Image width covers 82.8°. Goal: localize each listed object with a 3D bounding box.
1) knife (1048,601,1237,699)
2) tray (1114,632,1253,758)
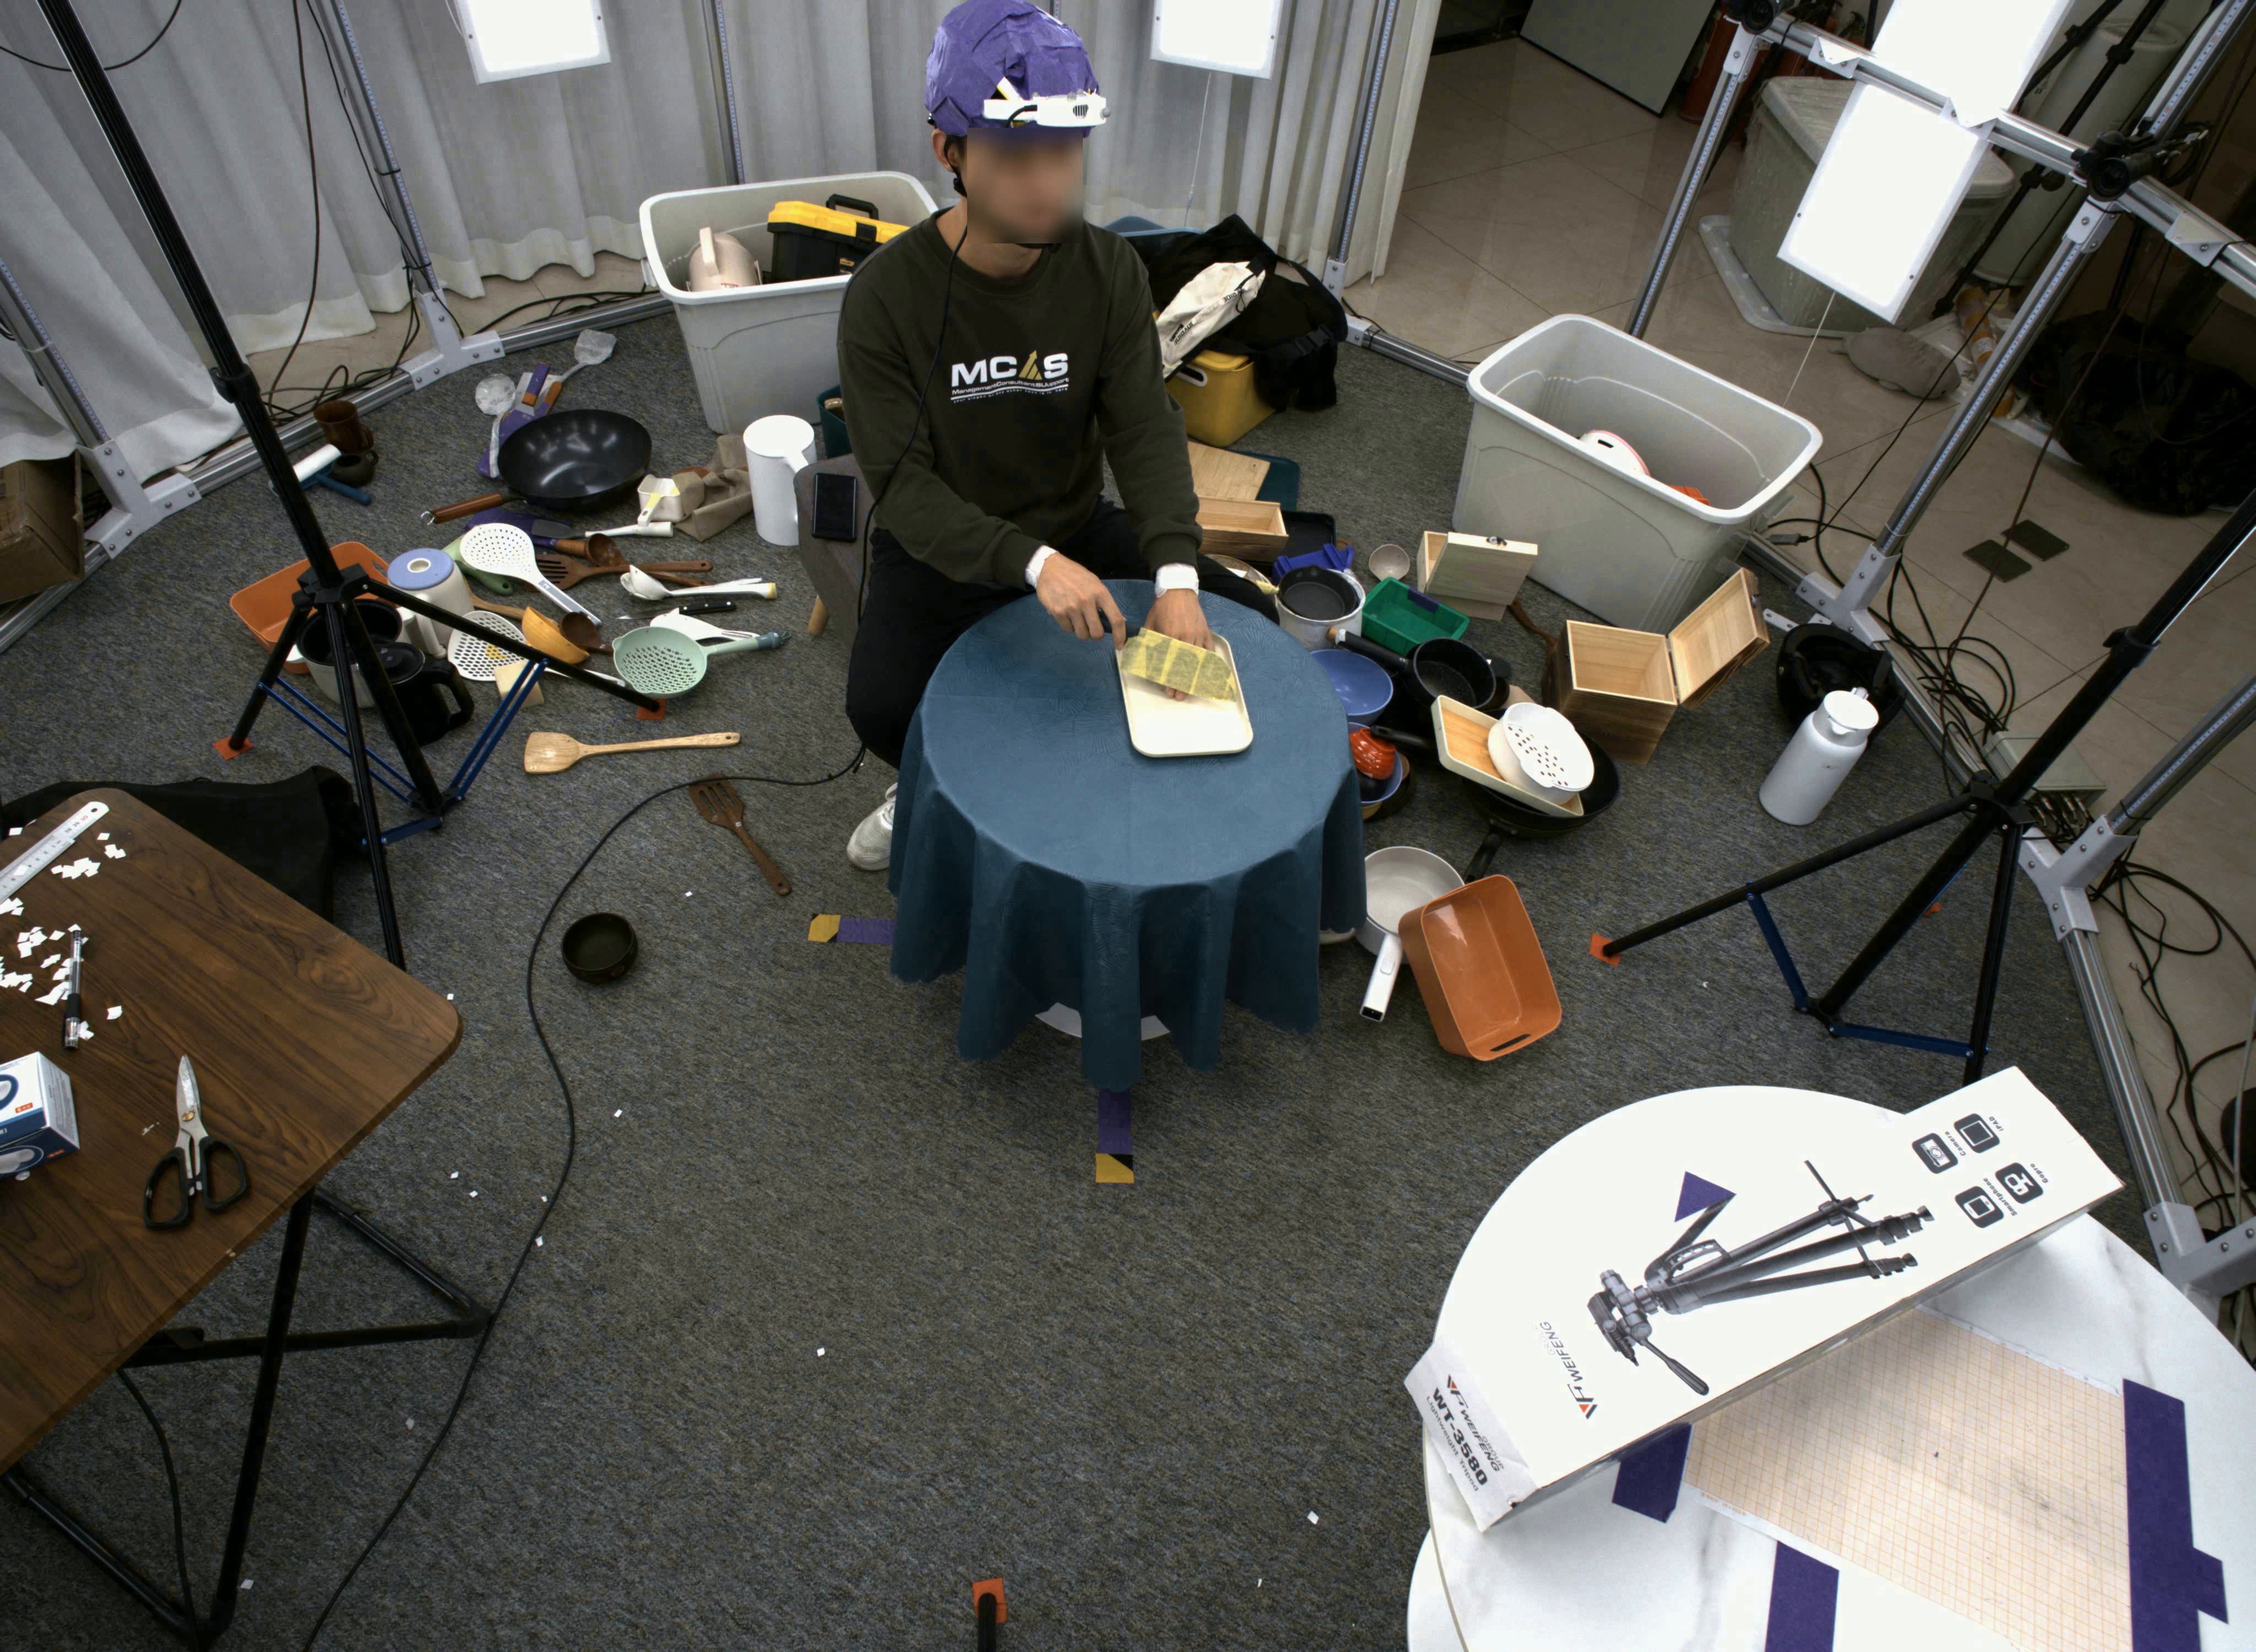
[{"bbox_3d":[0.019,-0.246,1.796,0.290,0.079,0.027,23,30,5],"label":"knife"},{"bbox_3d":[0.076,-0.188,1.824,0.171,0.017,0.246,-4,49,-7],"label":"tray"}]
